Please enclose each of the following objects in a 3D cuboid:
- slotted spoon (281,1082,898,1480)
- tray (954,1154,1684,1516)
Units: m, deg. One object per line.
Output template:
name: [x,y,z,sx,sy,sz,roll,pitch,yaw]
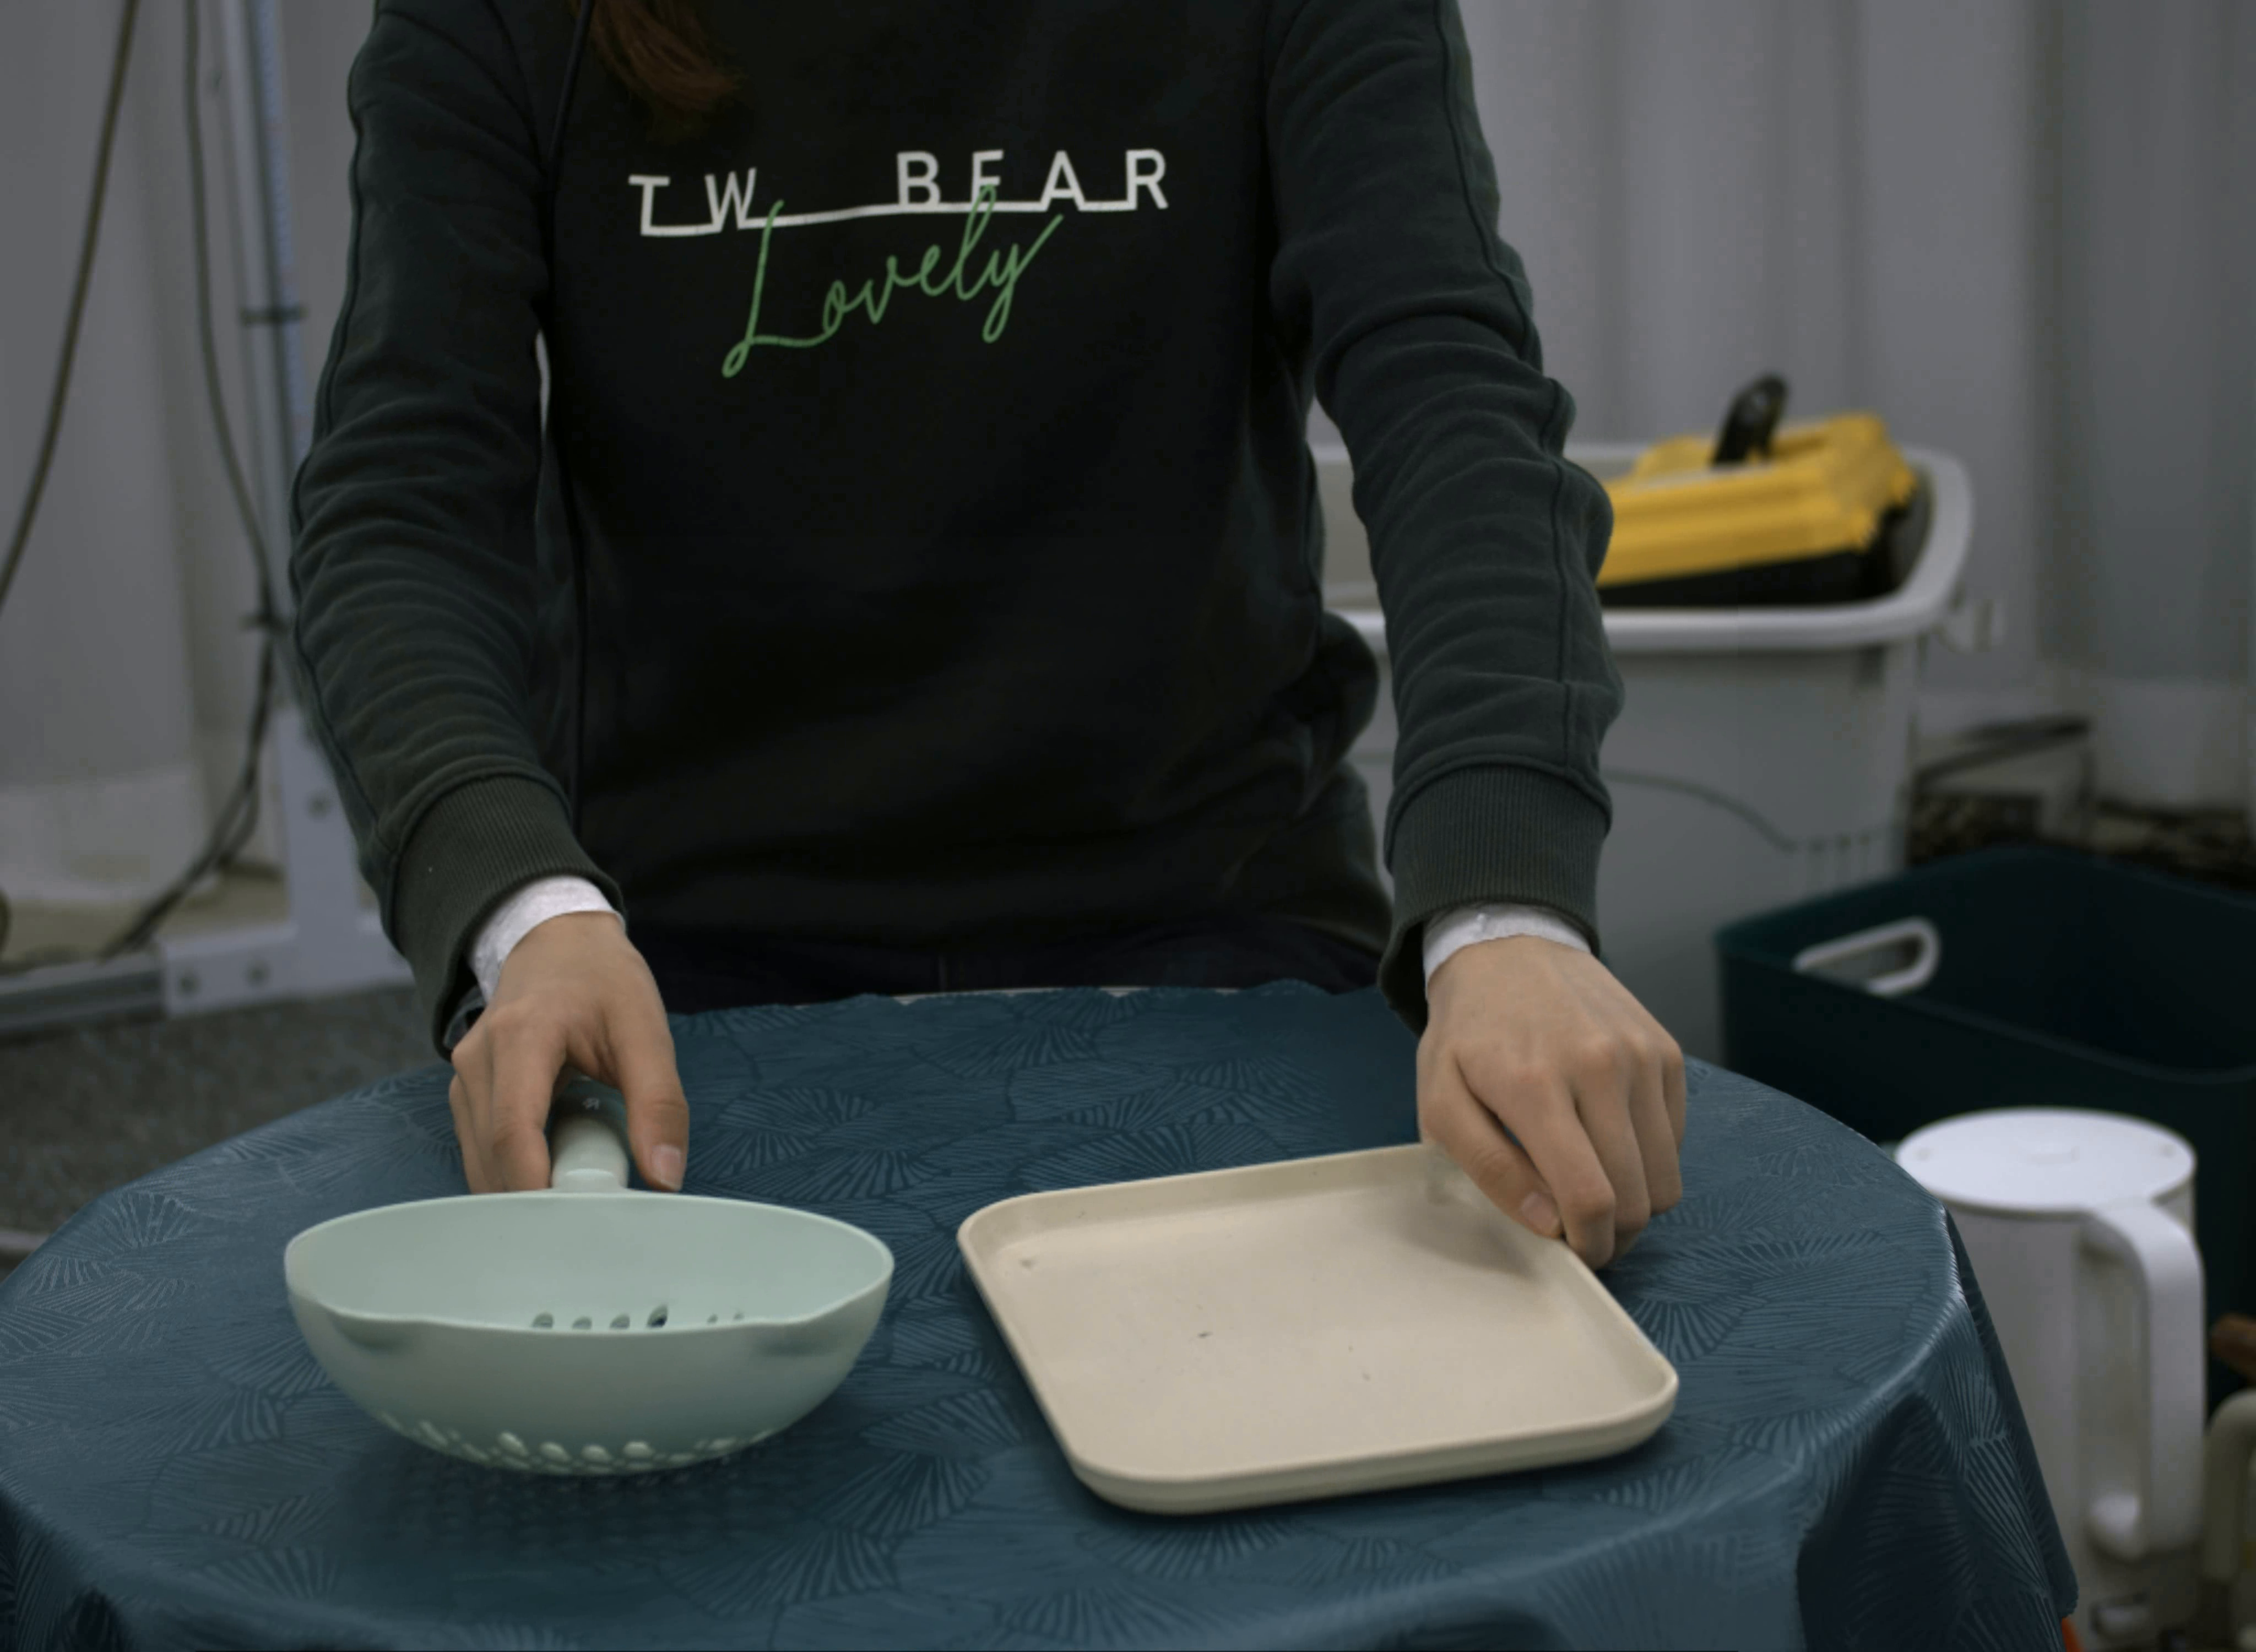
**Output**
slotted spoon: [-0.157,0.117,1.602,0.168,0.075,0.362,2,16,-5]
tray: [0.050,0.143,1.558,0.170,0.017,0.241,-7,15,-10]
